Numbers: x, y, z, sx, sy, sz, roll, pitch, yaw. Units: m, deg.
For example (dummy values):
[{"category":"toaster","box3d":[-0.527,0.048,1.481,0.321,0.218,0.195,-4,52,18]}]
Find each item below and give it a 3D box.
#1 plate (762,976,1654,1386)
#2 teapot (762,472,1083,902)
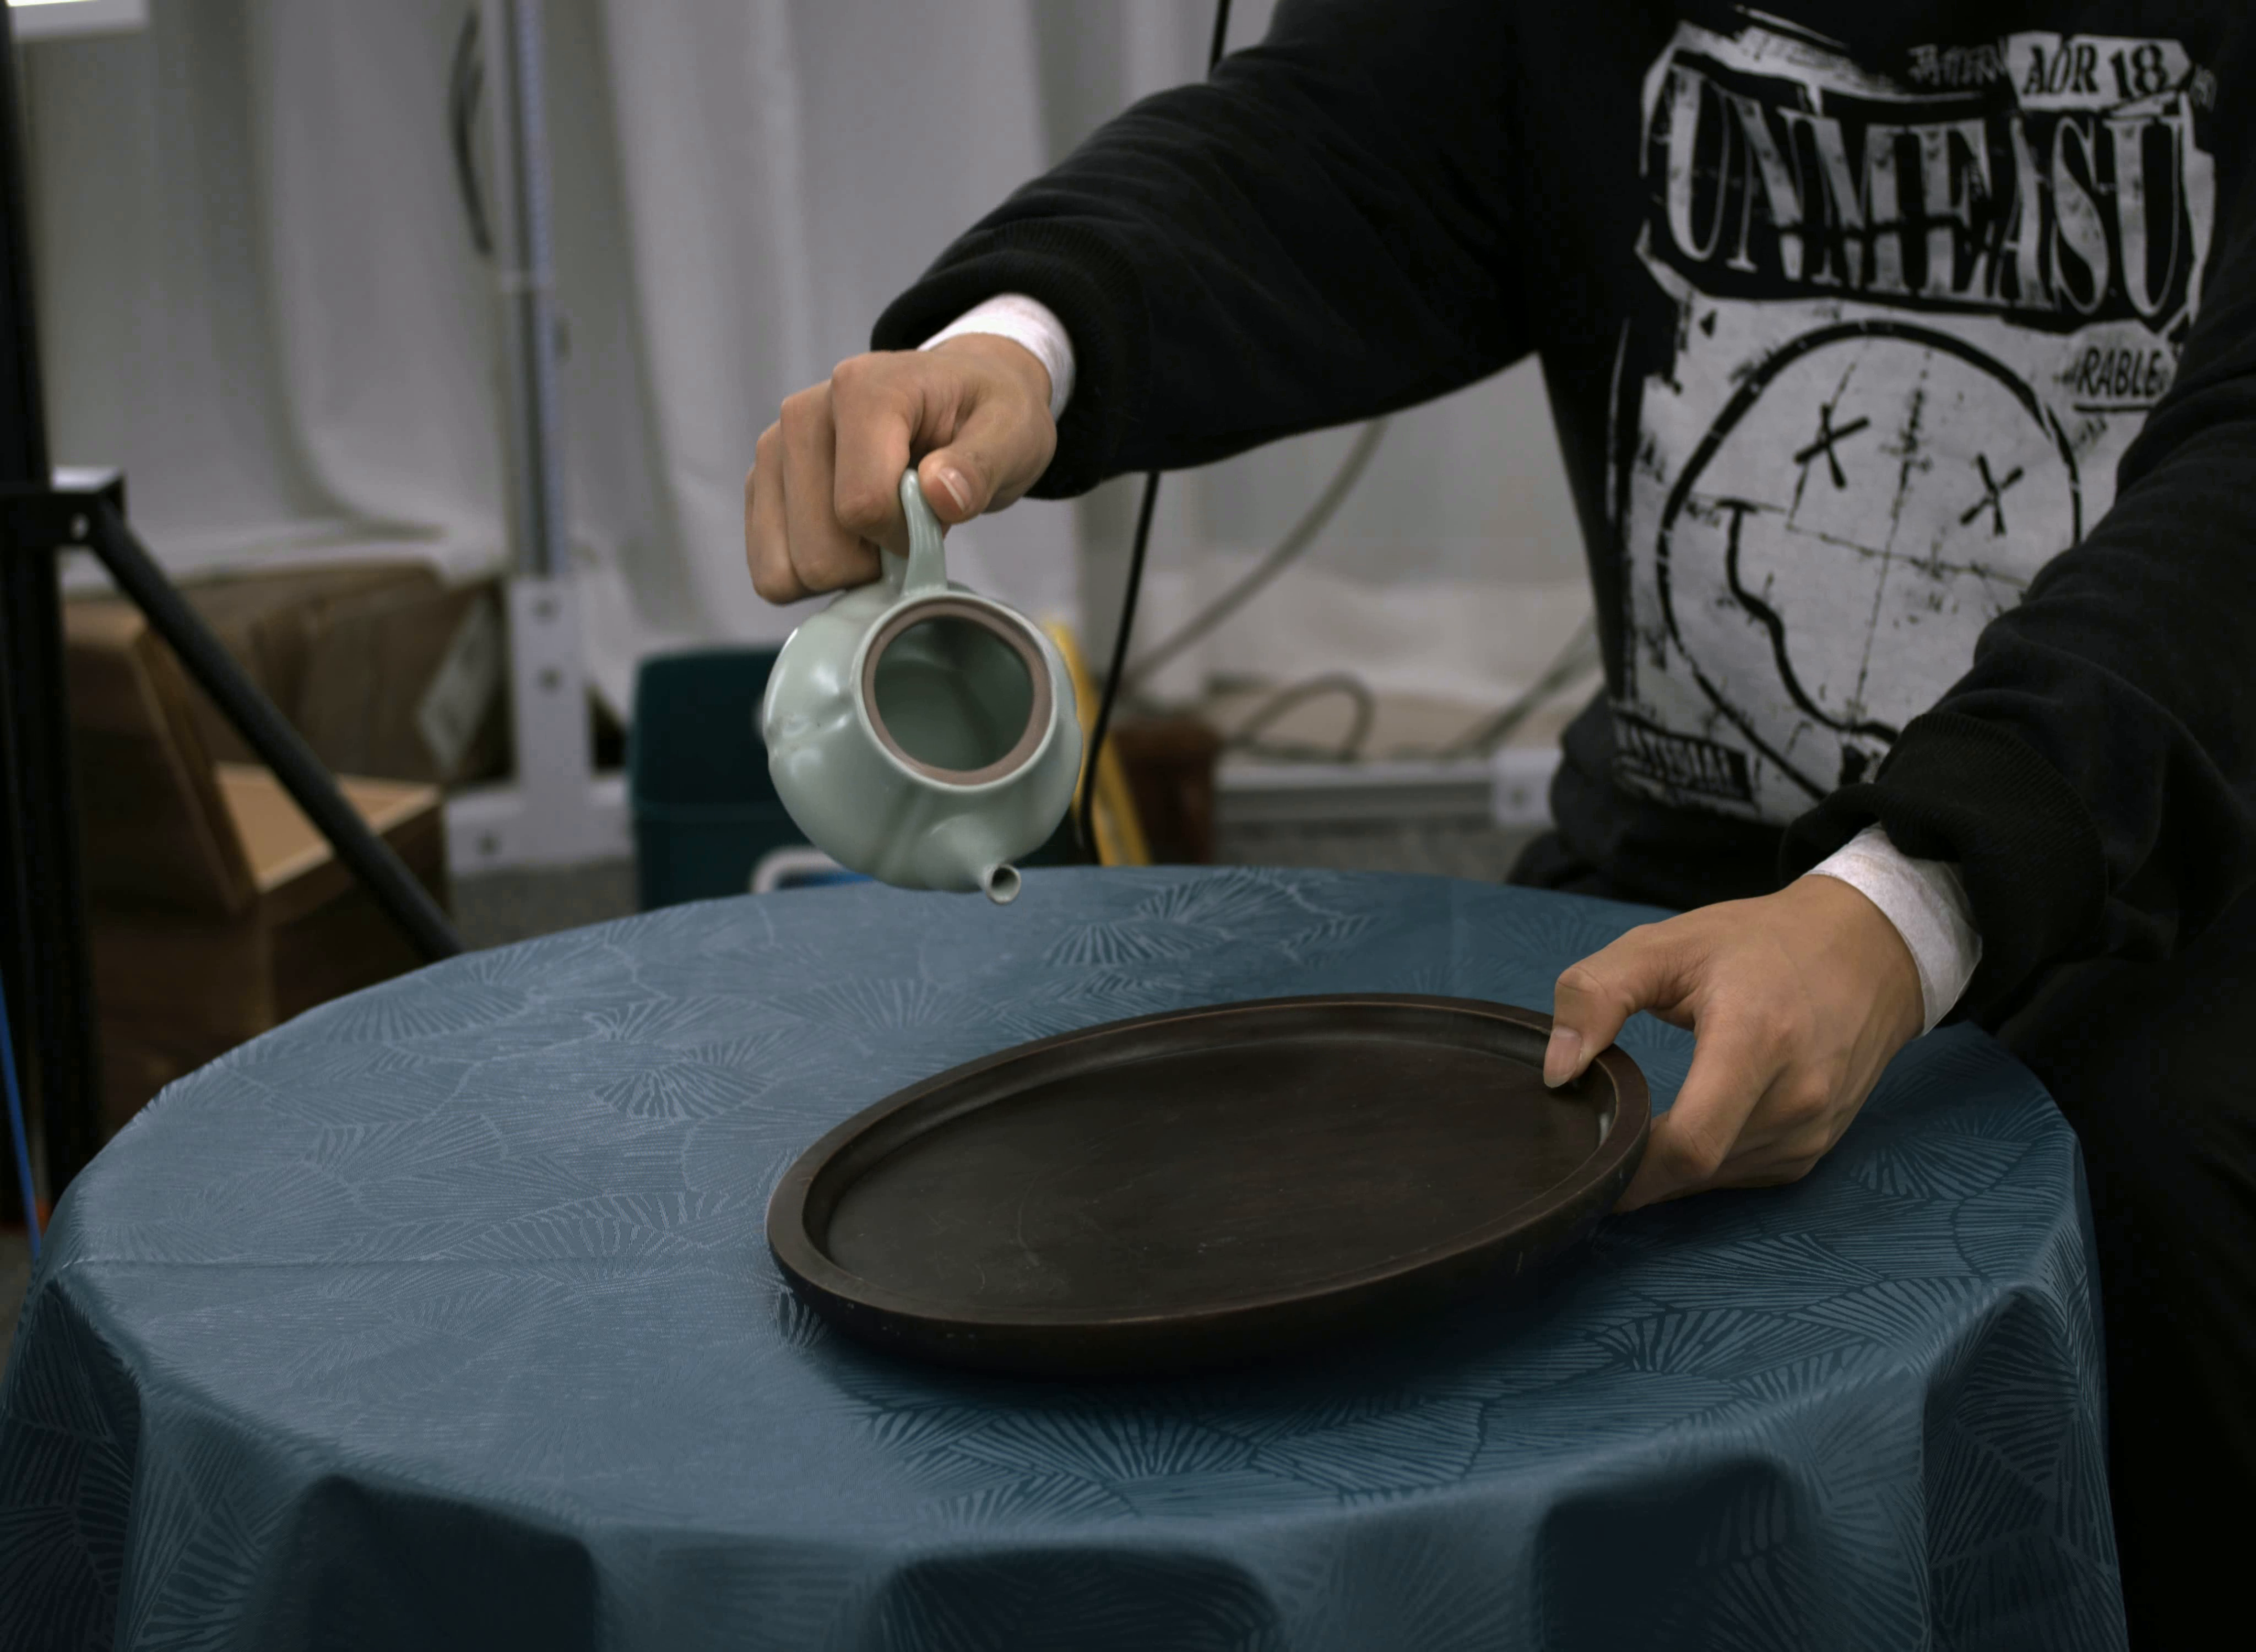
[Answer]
[{"category":"plate","box3d":[0.023,0.100,1.490,0.254,0.029,0.256,-10,17,2]},{"category":"teapot","box3d":[-0.057,-0.035,1.555,0.094,0.138,0.062,-10,-15,-19]}]
